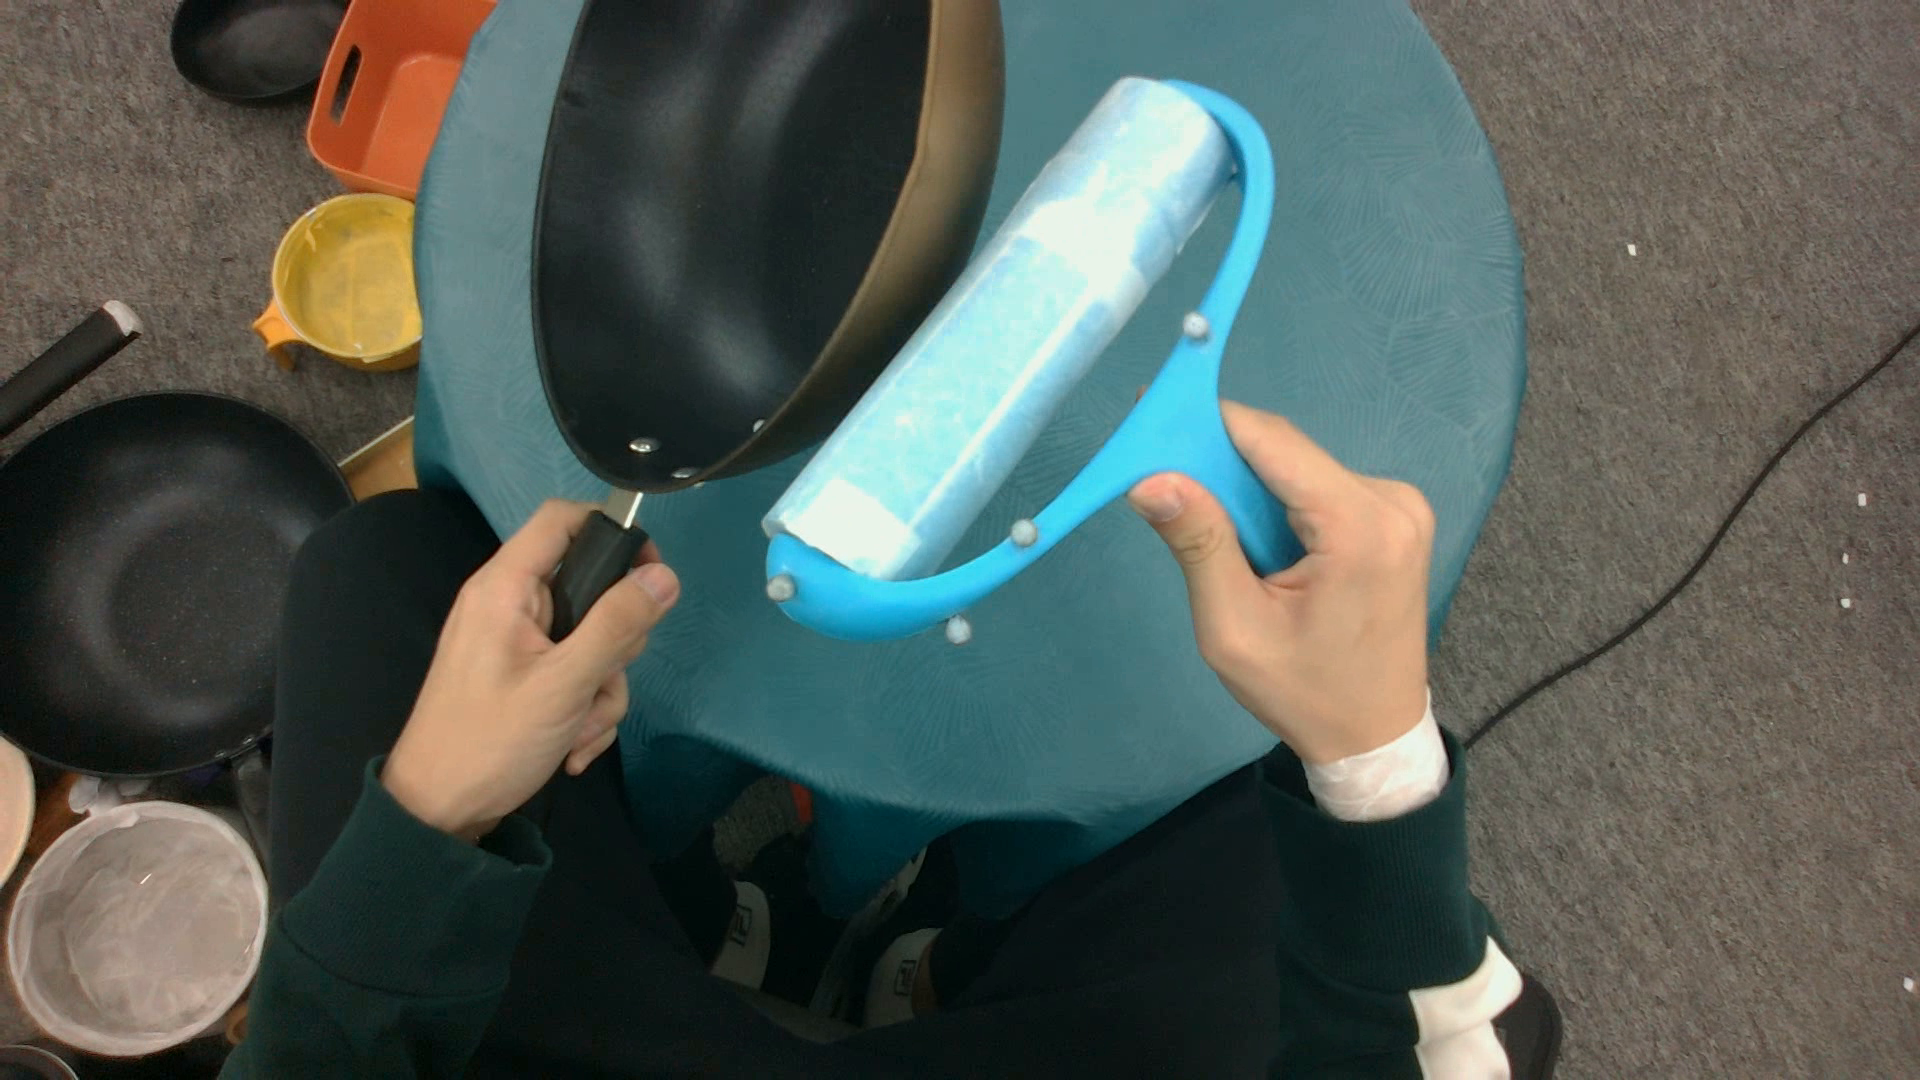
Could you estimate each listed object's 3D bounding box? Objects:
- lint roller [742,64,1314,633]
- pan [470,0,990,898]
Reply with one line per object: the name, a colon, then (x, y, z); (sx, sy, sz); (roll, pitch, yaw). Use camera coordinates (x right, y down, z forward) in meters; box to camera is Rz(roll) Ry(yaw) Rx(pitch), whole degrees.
lint roller: (0.055, -0.038, 0.459); (0.180, 0.068, 0.229); (33, 73, -4)
pan: (-0.104, -0.067, 0.555); (0.087, 0.288, 0.462); (9, 102, -41)
